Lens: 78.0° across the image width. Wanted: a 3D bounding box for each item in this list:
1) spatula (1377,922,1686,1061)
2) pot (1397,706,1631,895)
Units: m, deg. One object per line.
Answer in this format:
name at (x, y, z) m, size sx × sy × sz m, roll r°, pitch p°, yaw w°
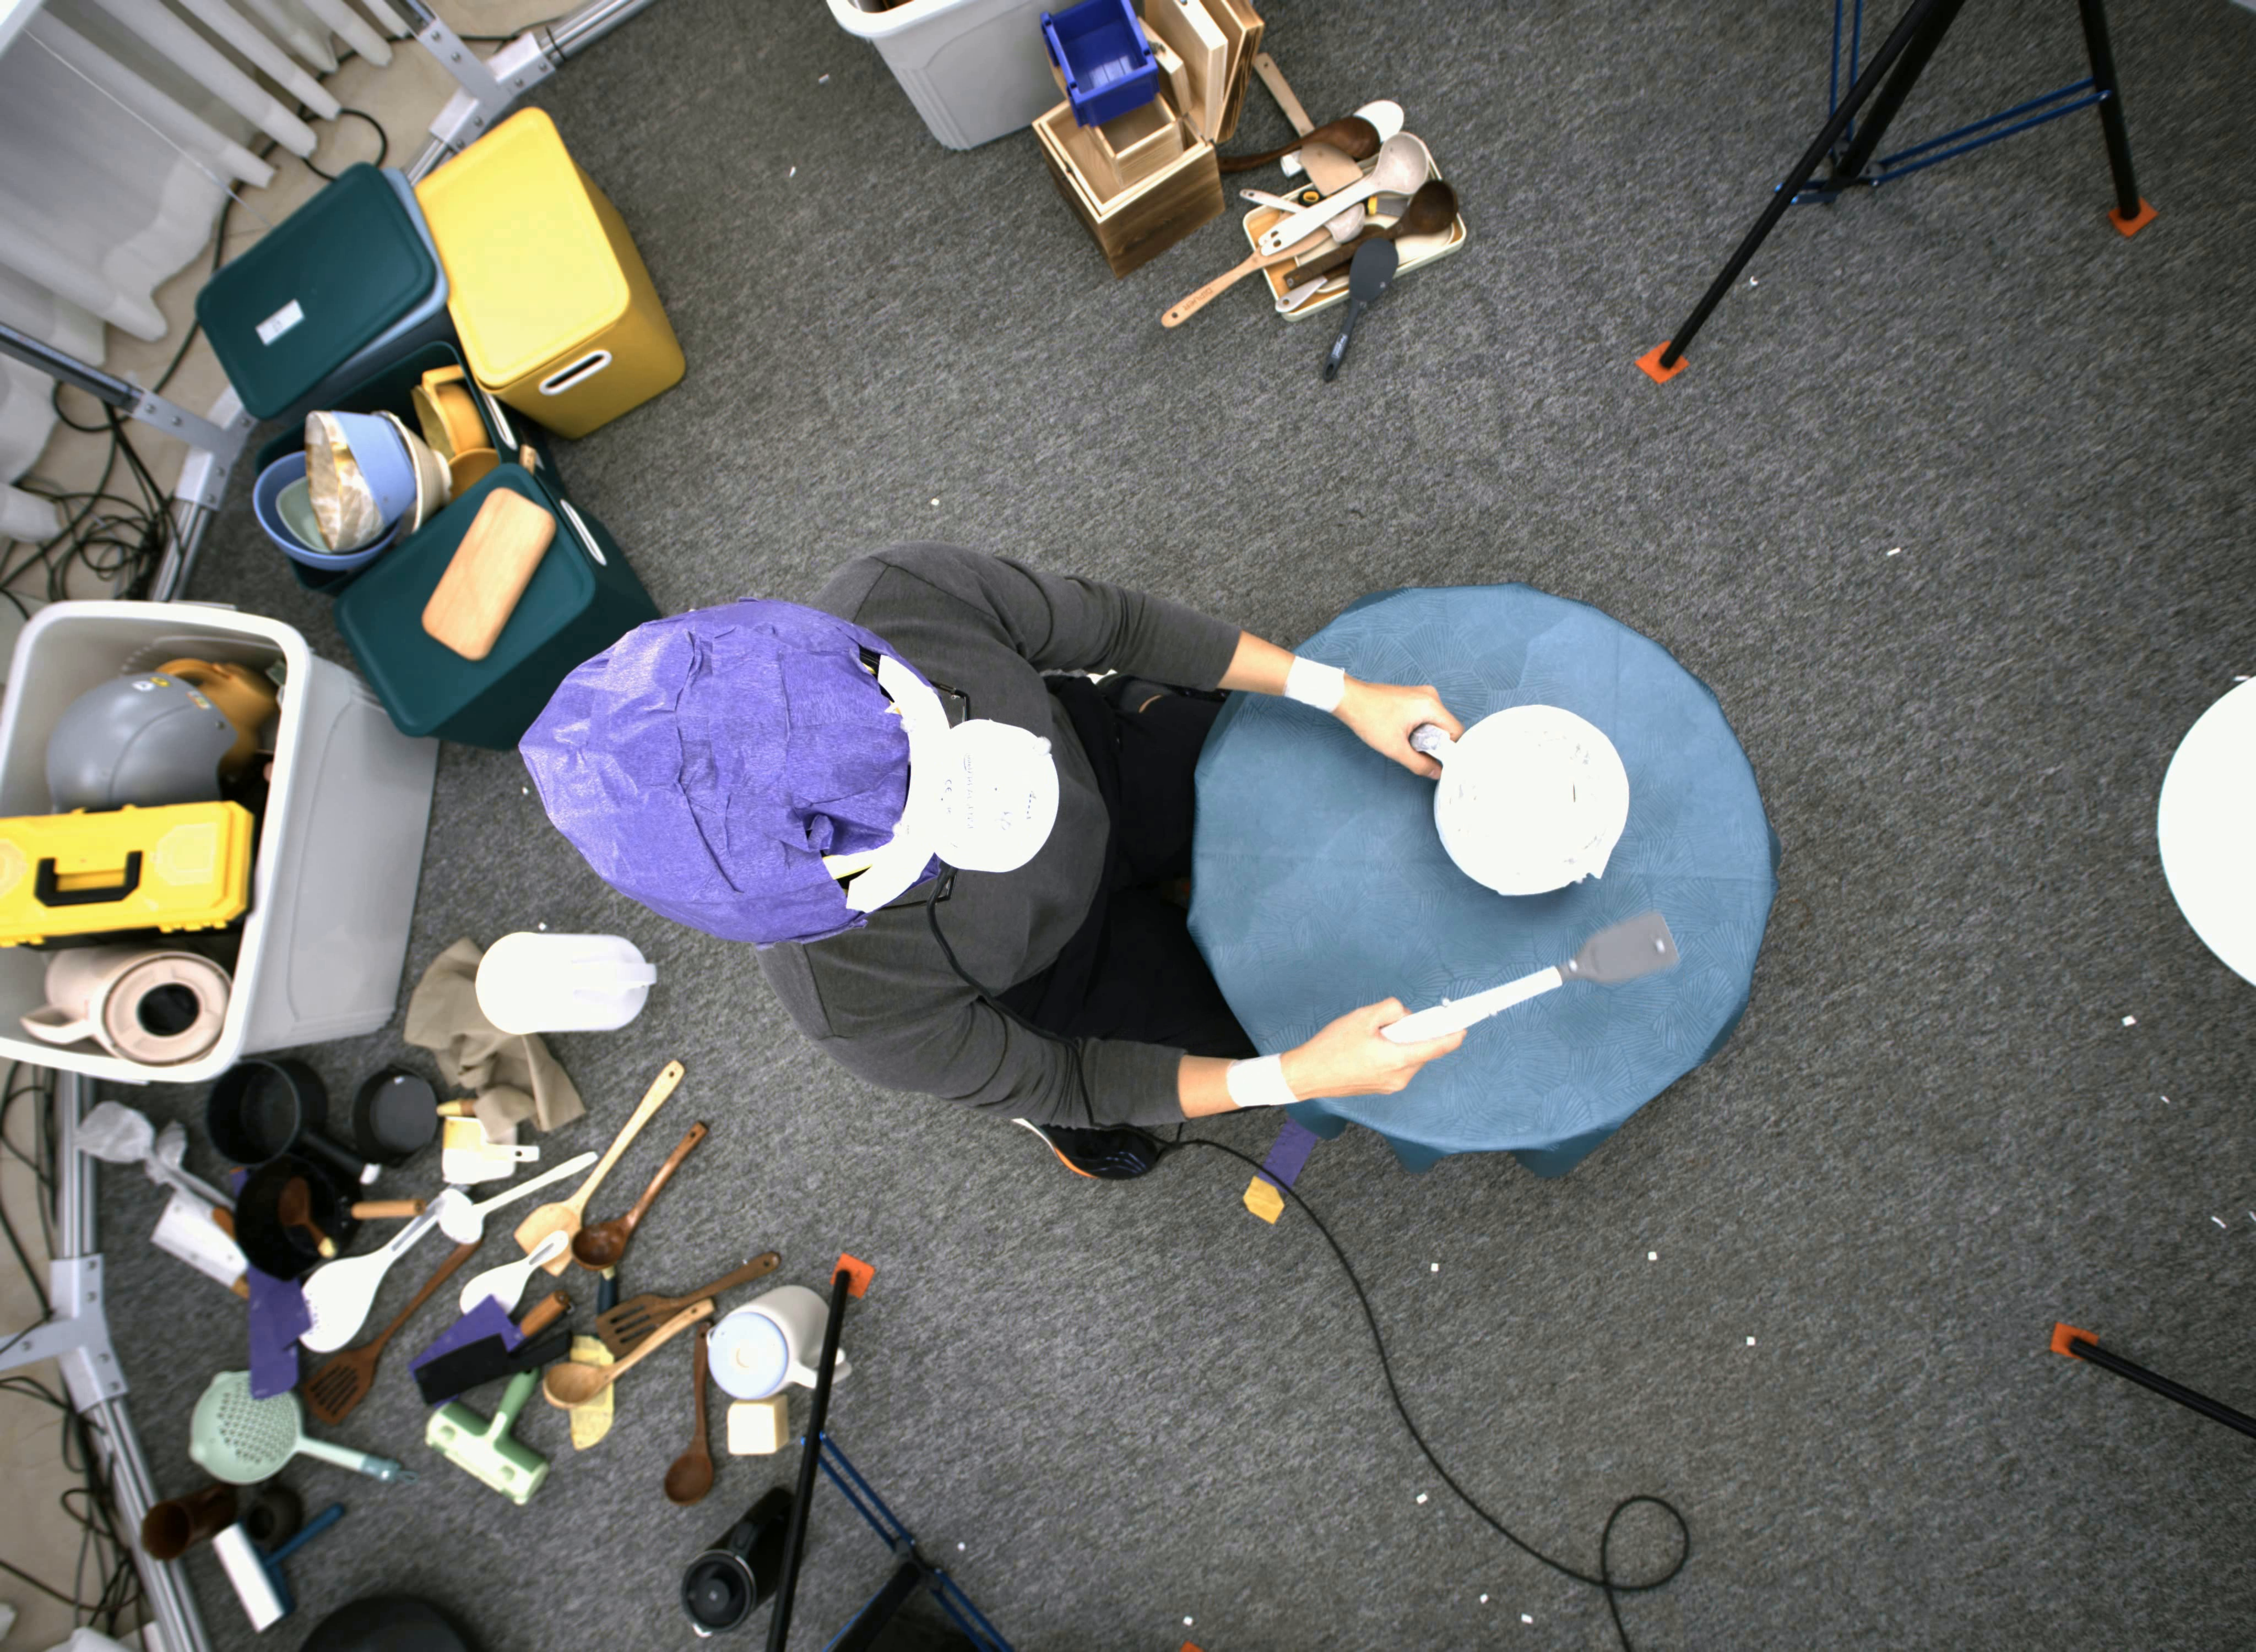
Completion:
spatula at (0.372, 0.155, 1.276) m, size 0.288 × 0.032 × 0.058 m, roll -19°, pitch 81°, yaw 3°
pot at (0.375, -0.038, 1.376) m, size 0.233 × 0.137 × 0.179 m, roll 32°, pitch 91°, yaw 11°
